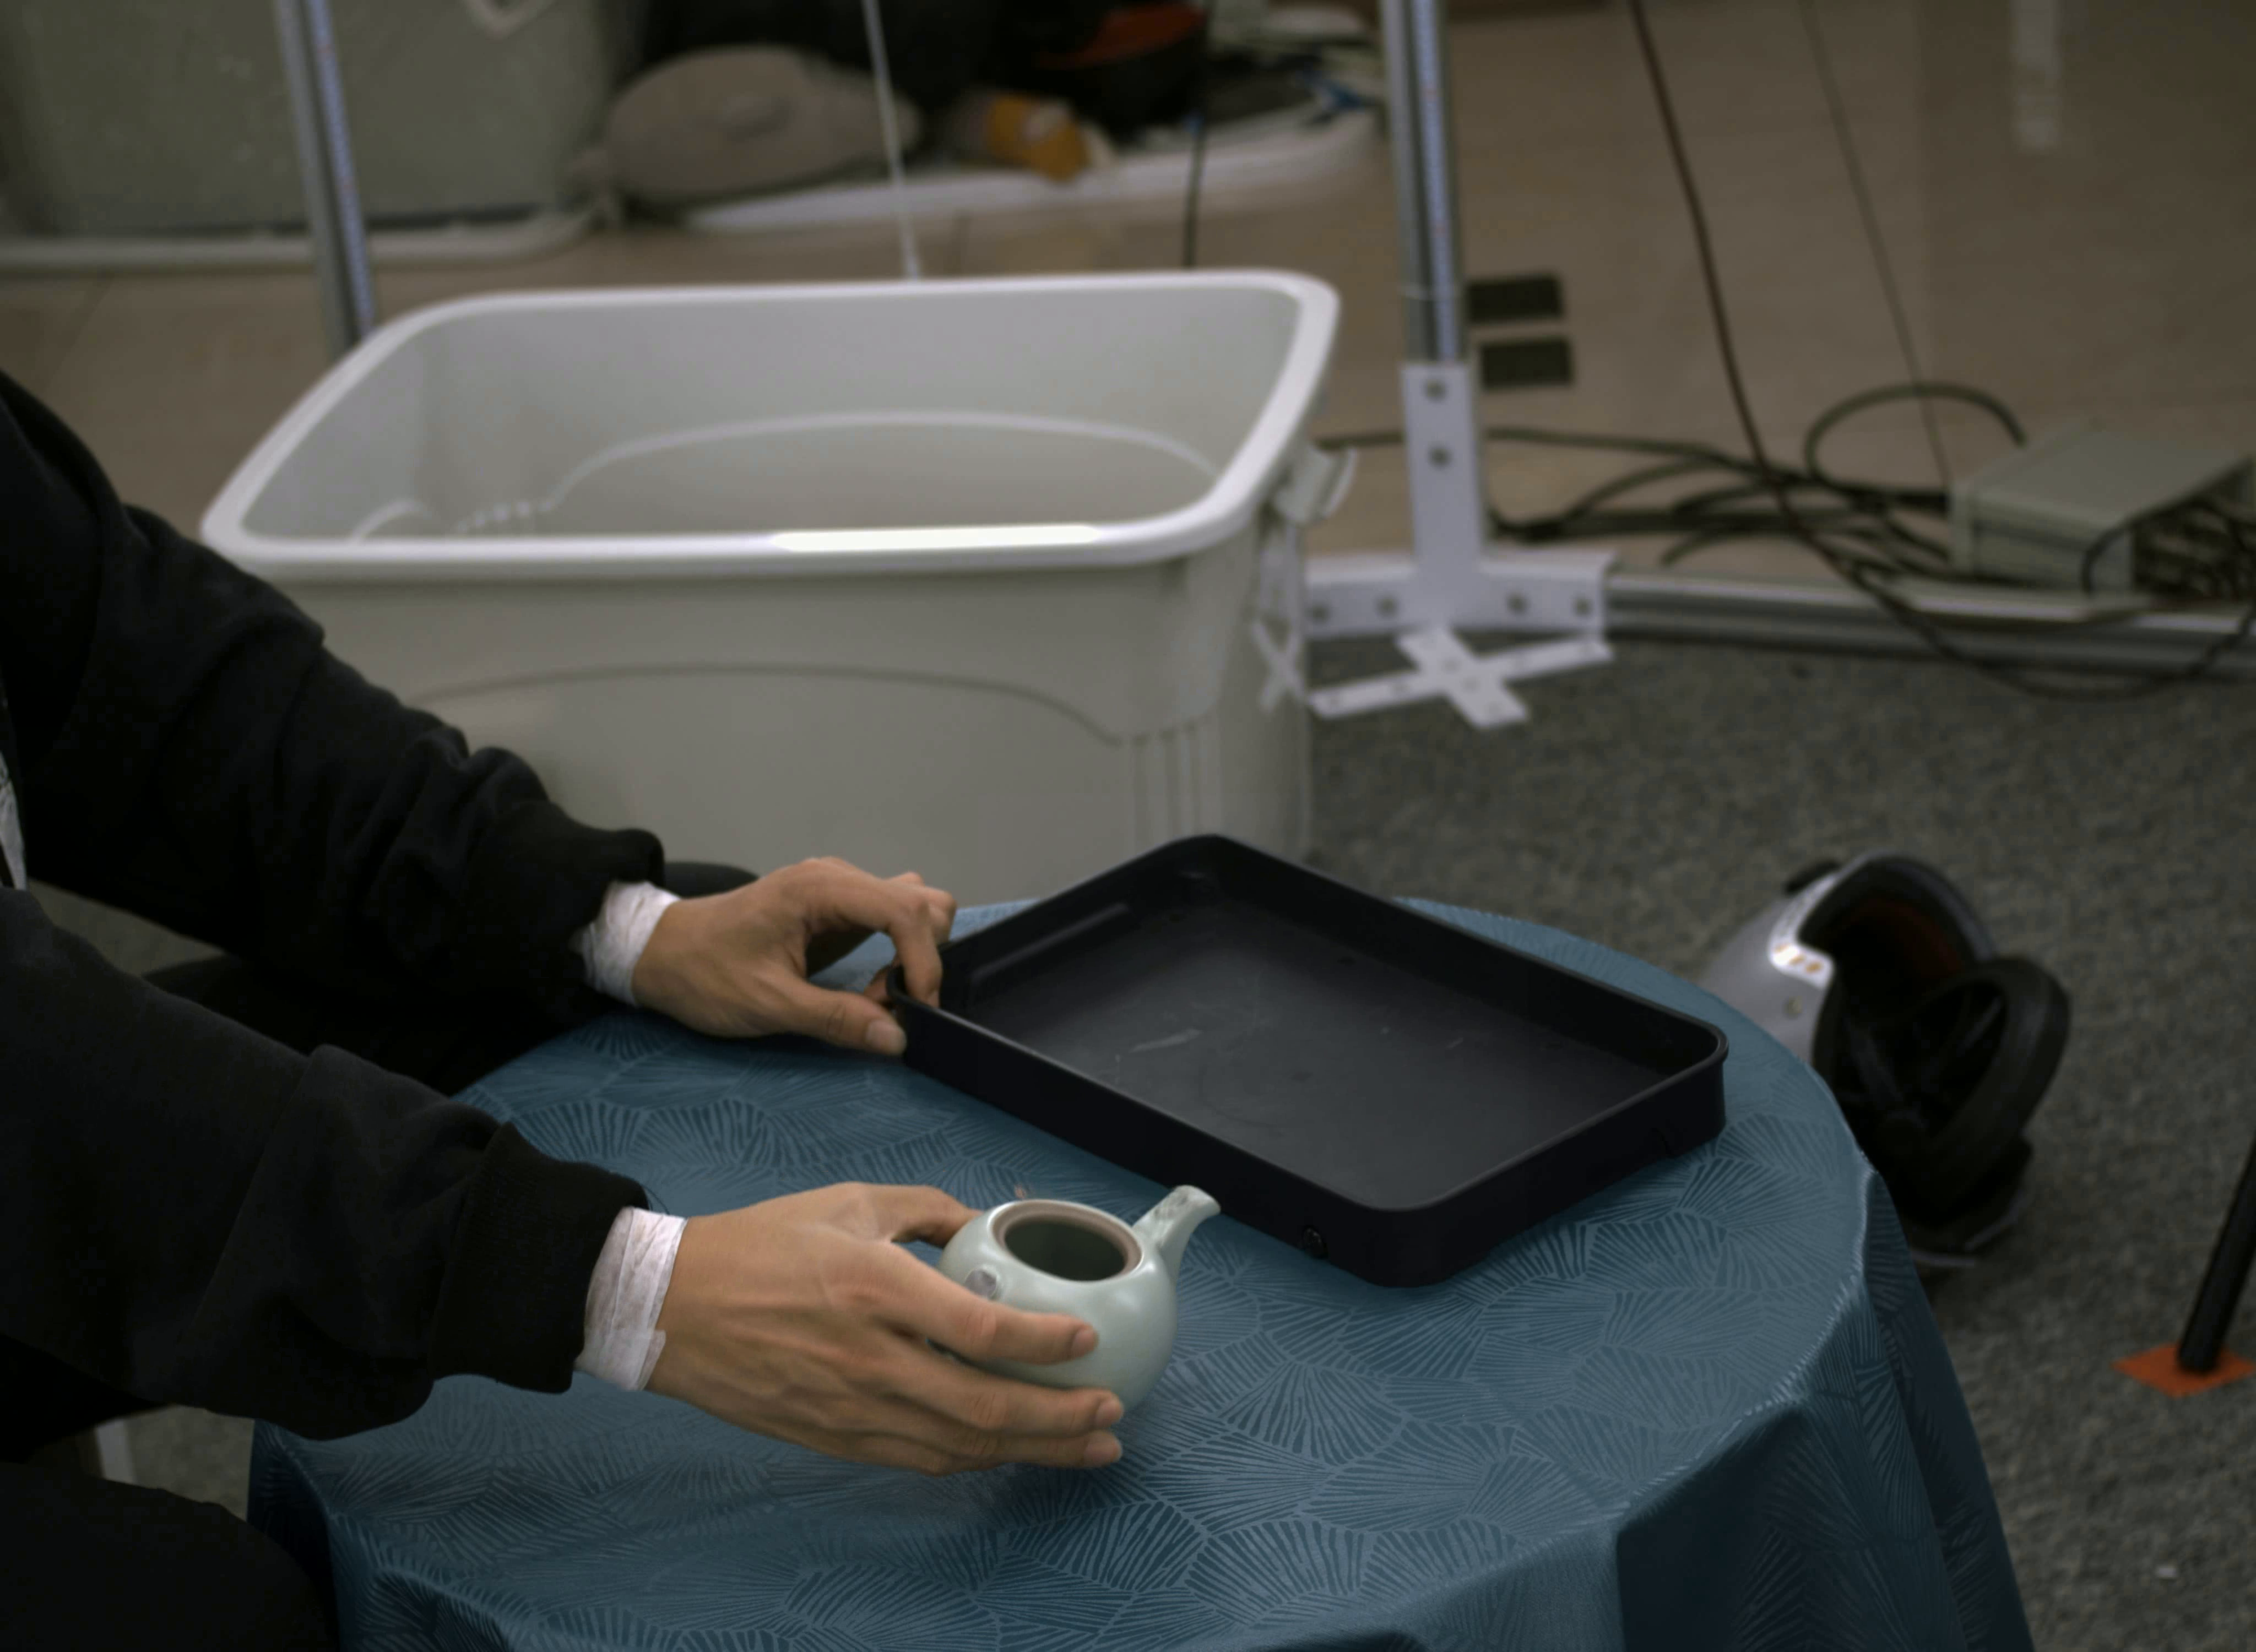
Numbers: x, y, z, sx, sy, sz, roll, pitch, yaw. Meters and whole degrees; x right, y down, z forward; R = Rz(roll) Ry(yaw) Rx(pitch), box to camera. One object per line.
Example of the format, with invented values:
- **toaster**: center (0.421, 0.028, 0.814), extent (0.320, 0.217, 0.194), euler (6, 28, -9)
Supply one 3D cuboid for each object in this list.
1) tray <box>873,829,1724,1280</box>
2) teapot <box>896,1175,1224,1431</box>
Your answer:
- **tray**: center (0.063, 0.084, 2.209), extent (0.183, 0.037, 0.315), euler (-26, 32, -35)
- **teapot**: center (-0.025, 0.168, 1.973), extent (0.143, 0.076, 0.087), euler (-13, 34, -39)
